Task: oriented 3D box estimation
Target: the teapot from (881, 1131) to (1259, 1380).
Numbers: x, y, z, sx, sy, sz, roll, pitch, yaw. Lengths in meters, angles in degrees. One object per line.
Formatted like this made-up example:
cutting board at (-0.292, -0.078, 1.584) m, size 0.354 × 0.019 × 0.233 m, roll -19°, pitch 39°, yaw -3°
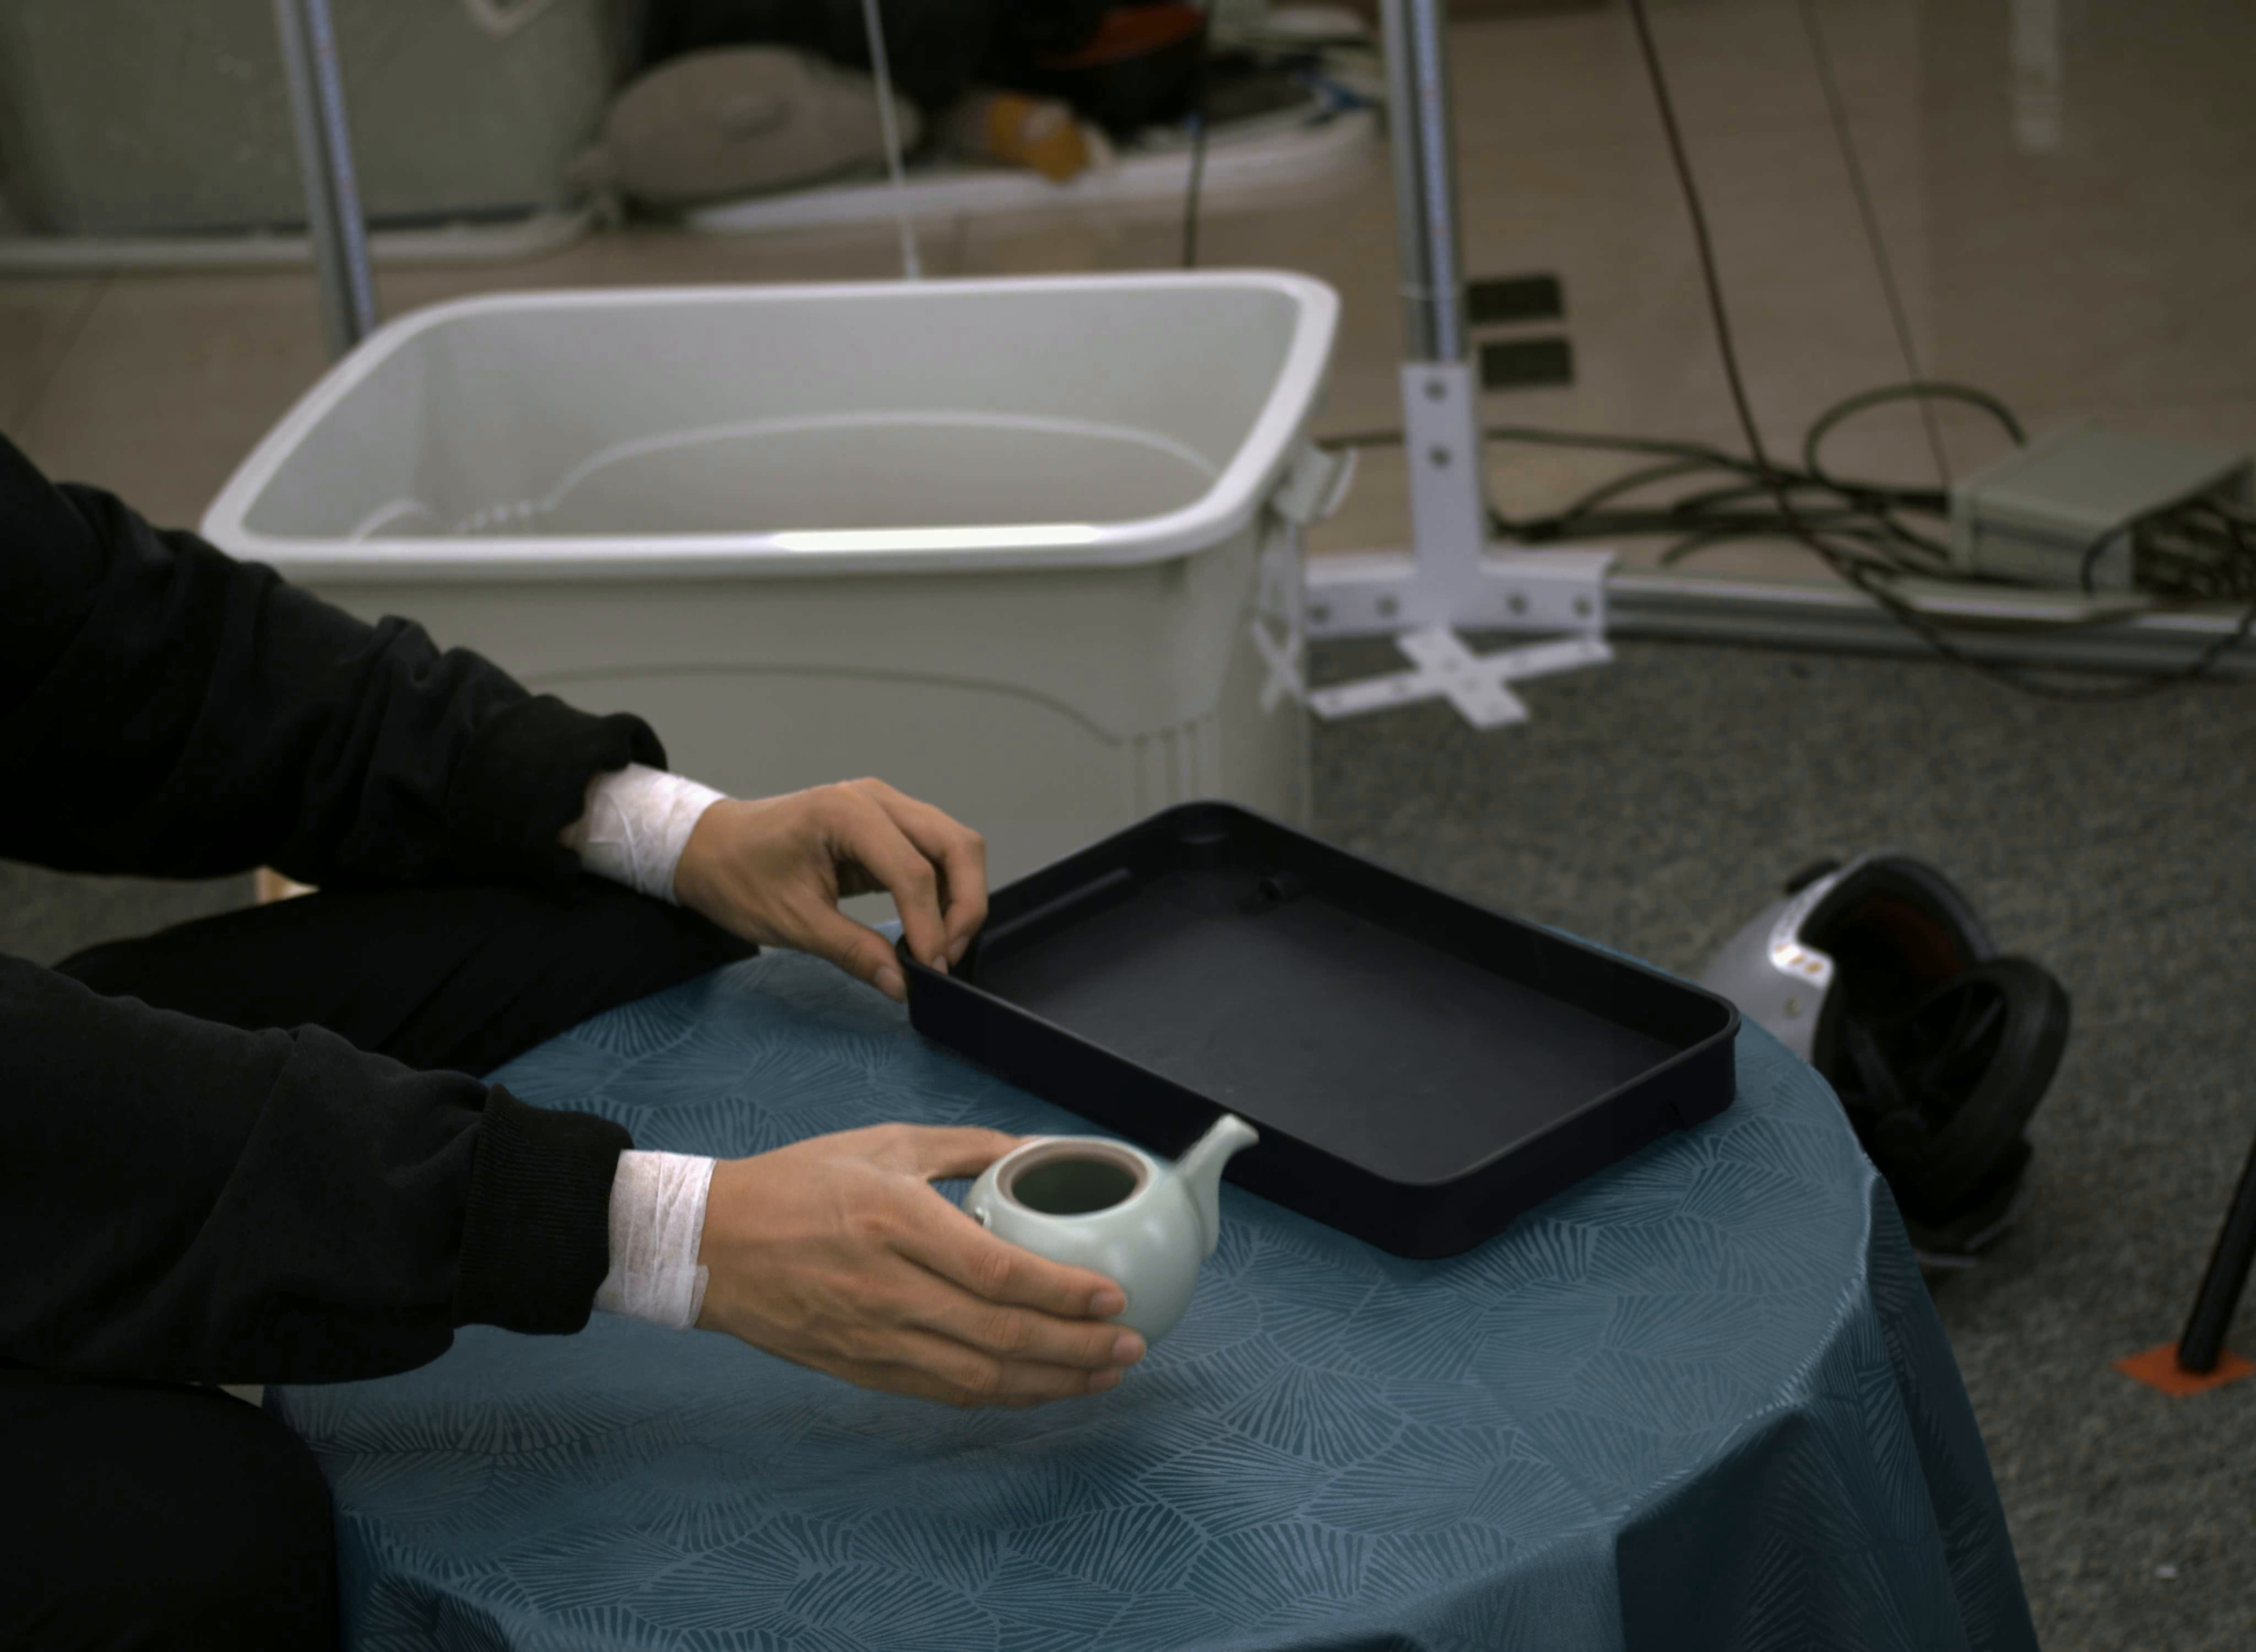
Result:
teapot at (-0.019, 0.152, 1.988) m, size 0.143 × 0.076 × 0.087 m, roll -10°, pitch 28°, yaw -21°

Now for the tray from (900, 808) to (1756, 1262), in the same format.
tray at (0.075, 0.077, 2.216) m, size 0.183 × 0.037 × 0.315 m, roll -26°, pitch 33°, yaw -37°
